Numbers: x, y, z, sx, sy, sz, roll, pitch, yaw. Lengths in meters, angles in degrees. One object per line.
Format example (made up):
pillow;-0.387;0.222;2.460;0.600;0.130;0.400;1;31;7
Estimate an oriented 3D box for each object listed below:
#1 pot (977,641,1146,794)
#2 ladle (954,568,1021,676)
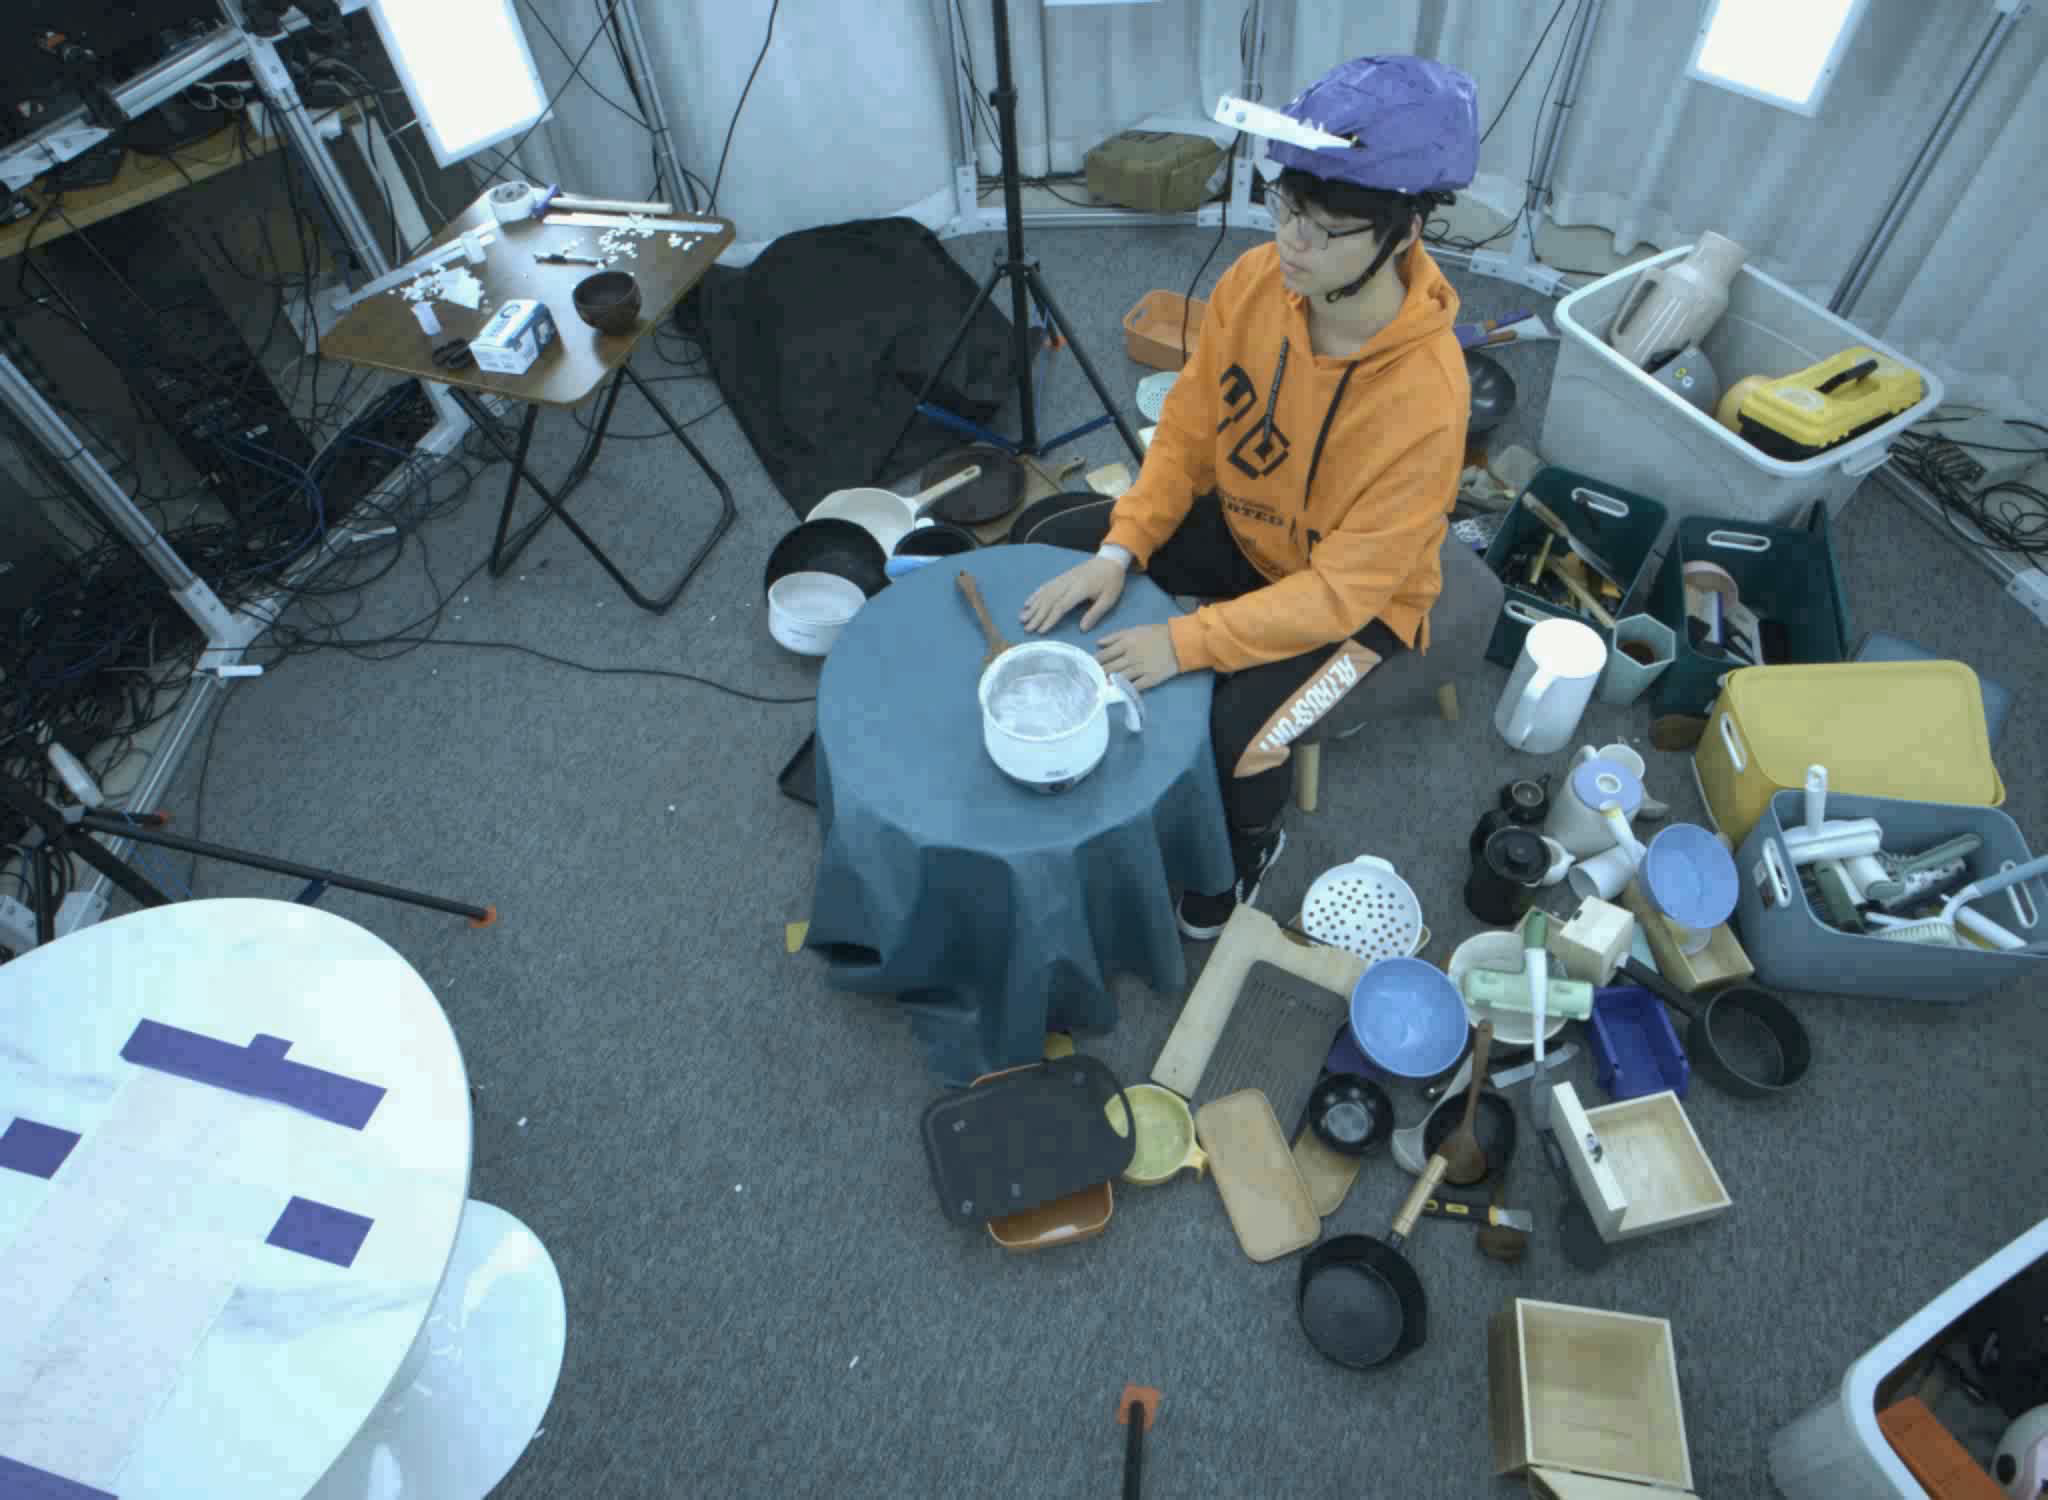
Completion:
pot;0.056;-0.051;1.736;0.234;0.138;0.176;-11;55;-5
ladle;-0.066;-0.209;1.898;0.076;0.066;0.256;-22;57;-3
